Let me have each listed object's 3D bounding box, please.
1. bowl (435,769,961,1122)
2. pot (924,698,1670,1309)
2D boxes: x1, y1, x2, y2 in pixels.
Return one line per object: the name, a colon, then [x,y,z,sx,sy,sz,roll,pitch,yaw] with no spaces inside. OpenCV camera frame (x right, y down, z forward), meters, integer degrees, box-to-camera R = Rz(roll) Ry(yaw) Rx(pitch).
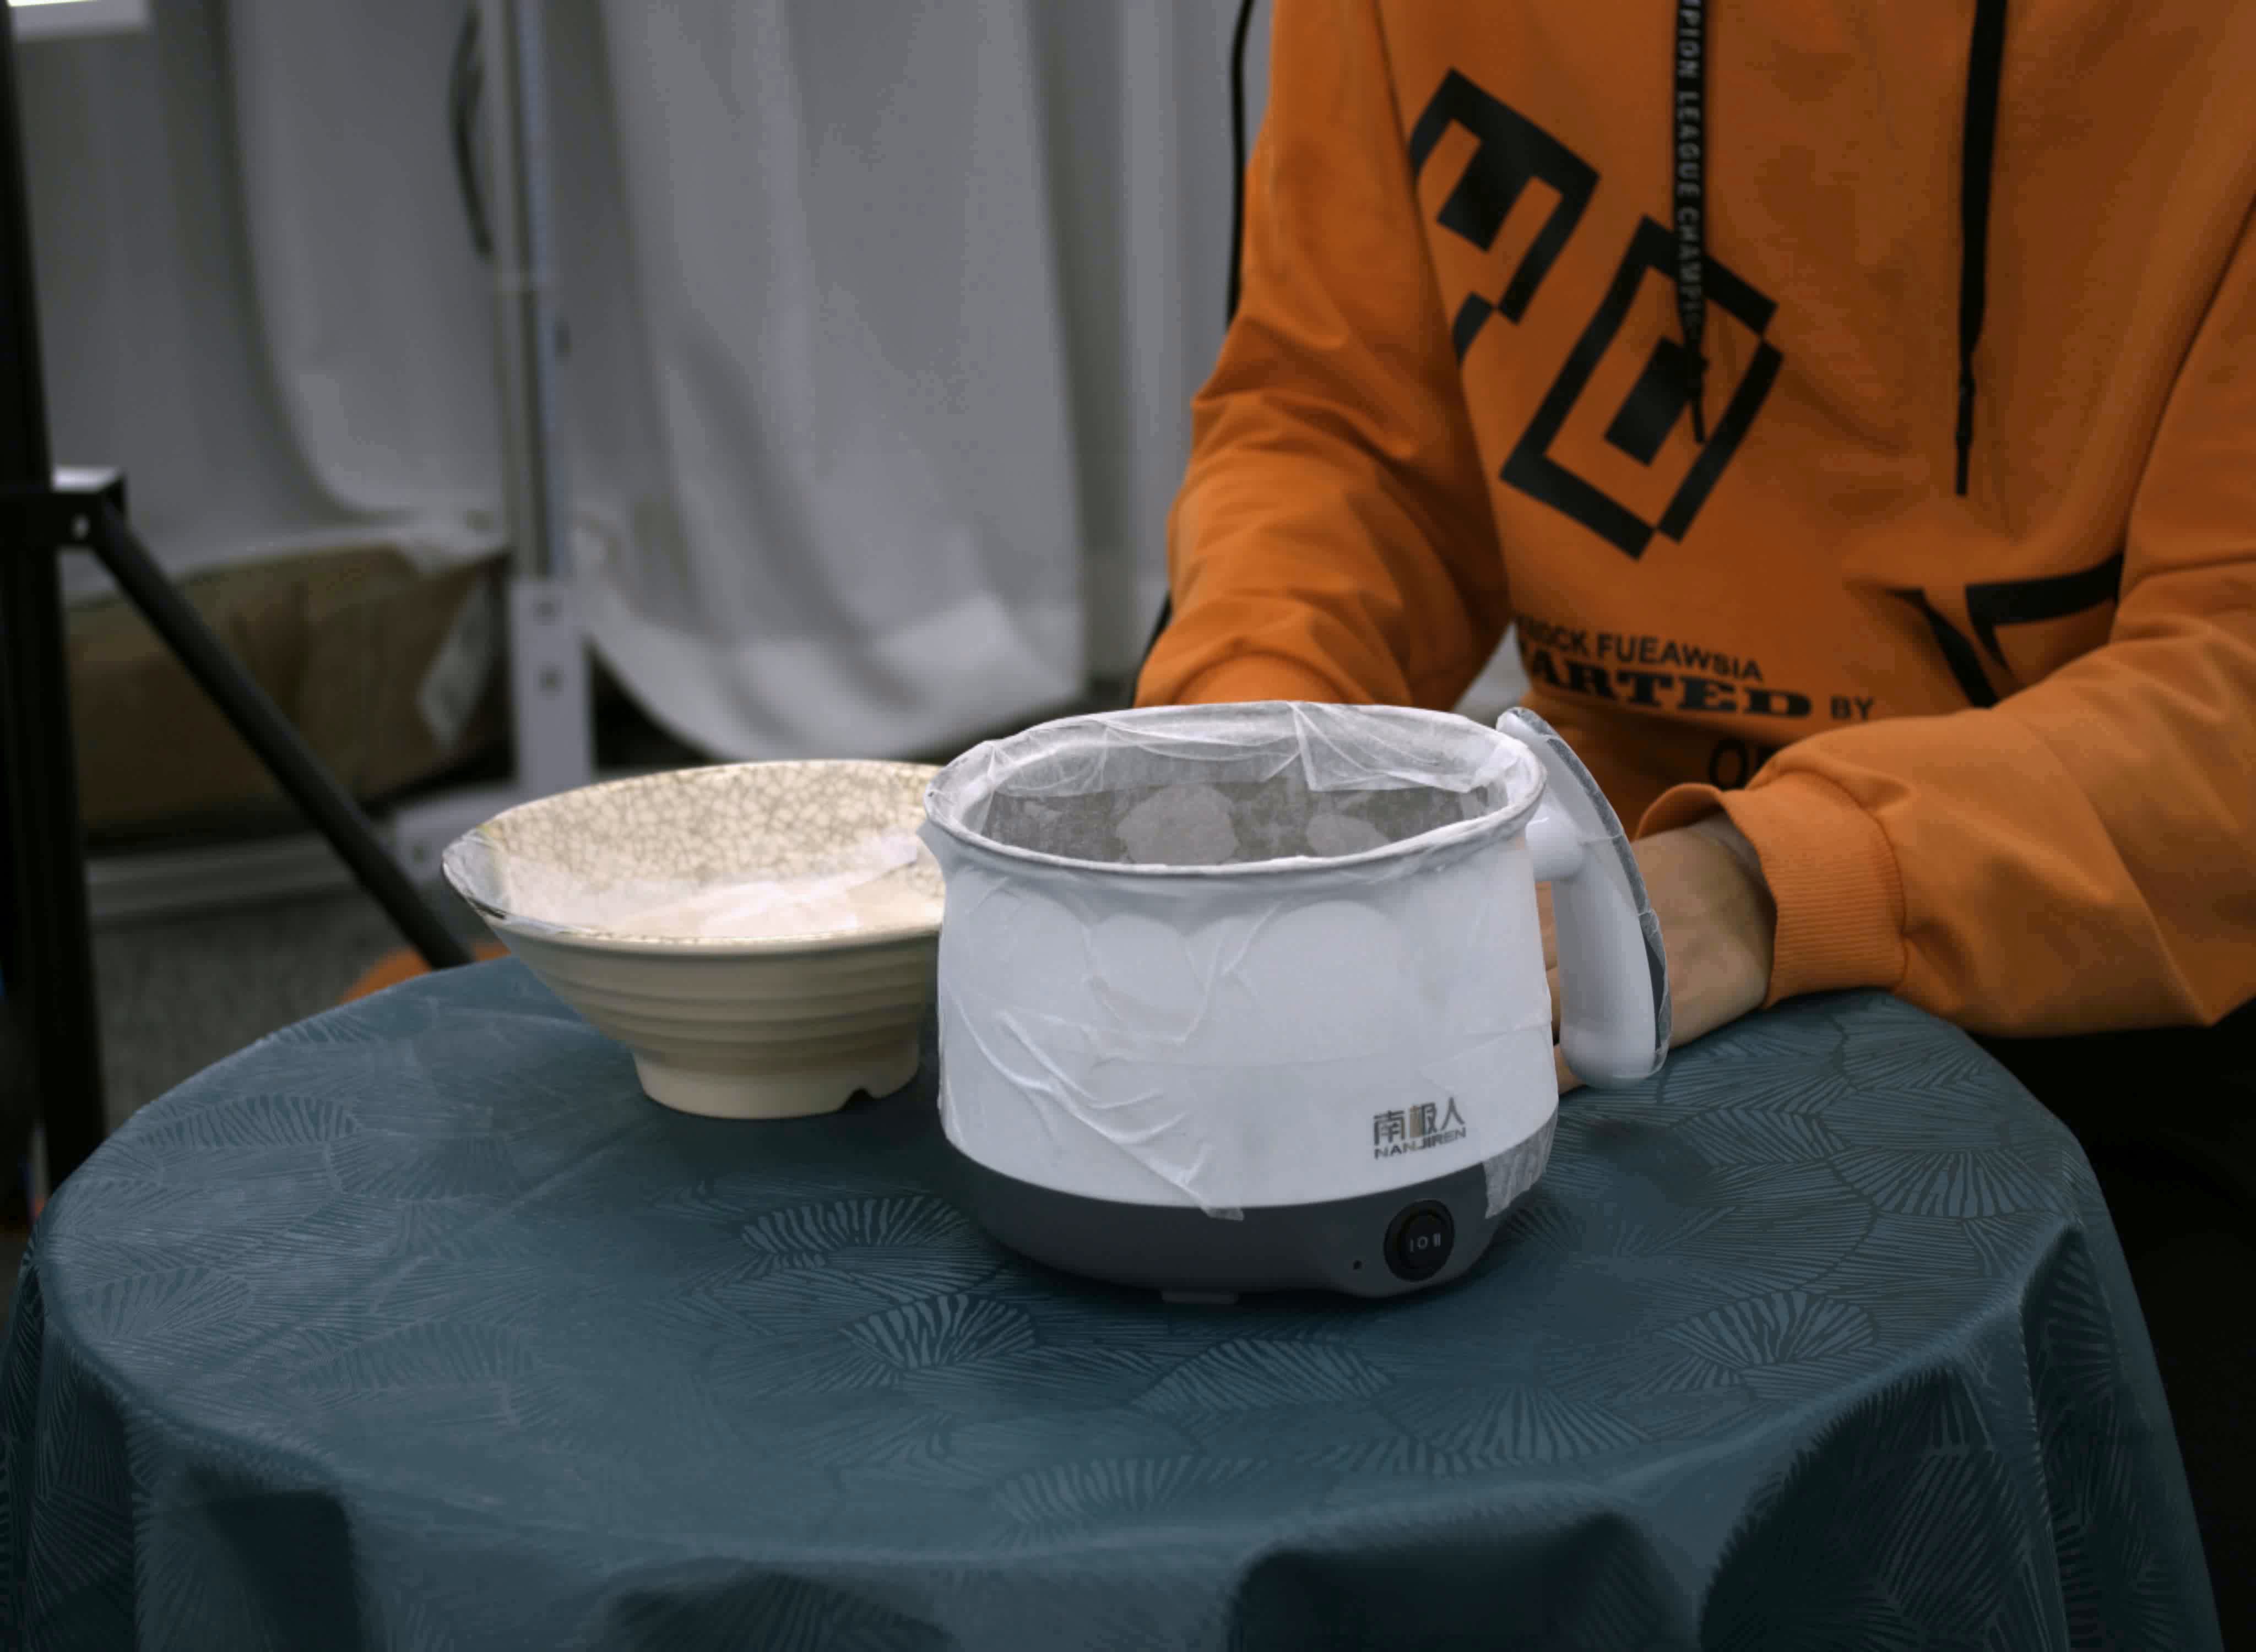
bowl: [-0.113,0.043,1.669,0.203,0.078,0.205,-2,14,-1]
pot: [0.056,0.043,1.526,0.228,0.136,0.183,-12,18,-30]
